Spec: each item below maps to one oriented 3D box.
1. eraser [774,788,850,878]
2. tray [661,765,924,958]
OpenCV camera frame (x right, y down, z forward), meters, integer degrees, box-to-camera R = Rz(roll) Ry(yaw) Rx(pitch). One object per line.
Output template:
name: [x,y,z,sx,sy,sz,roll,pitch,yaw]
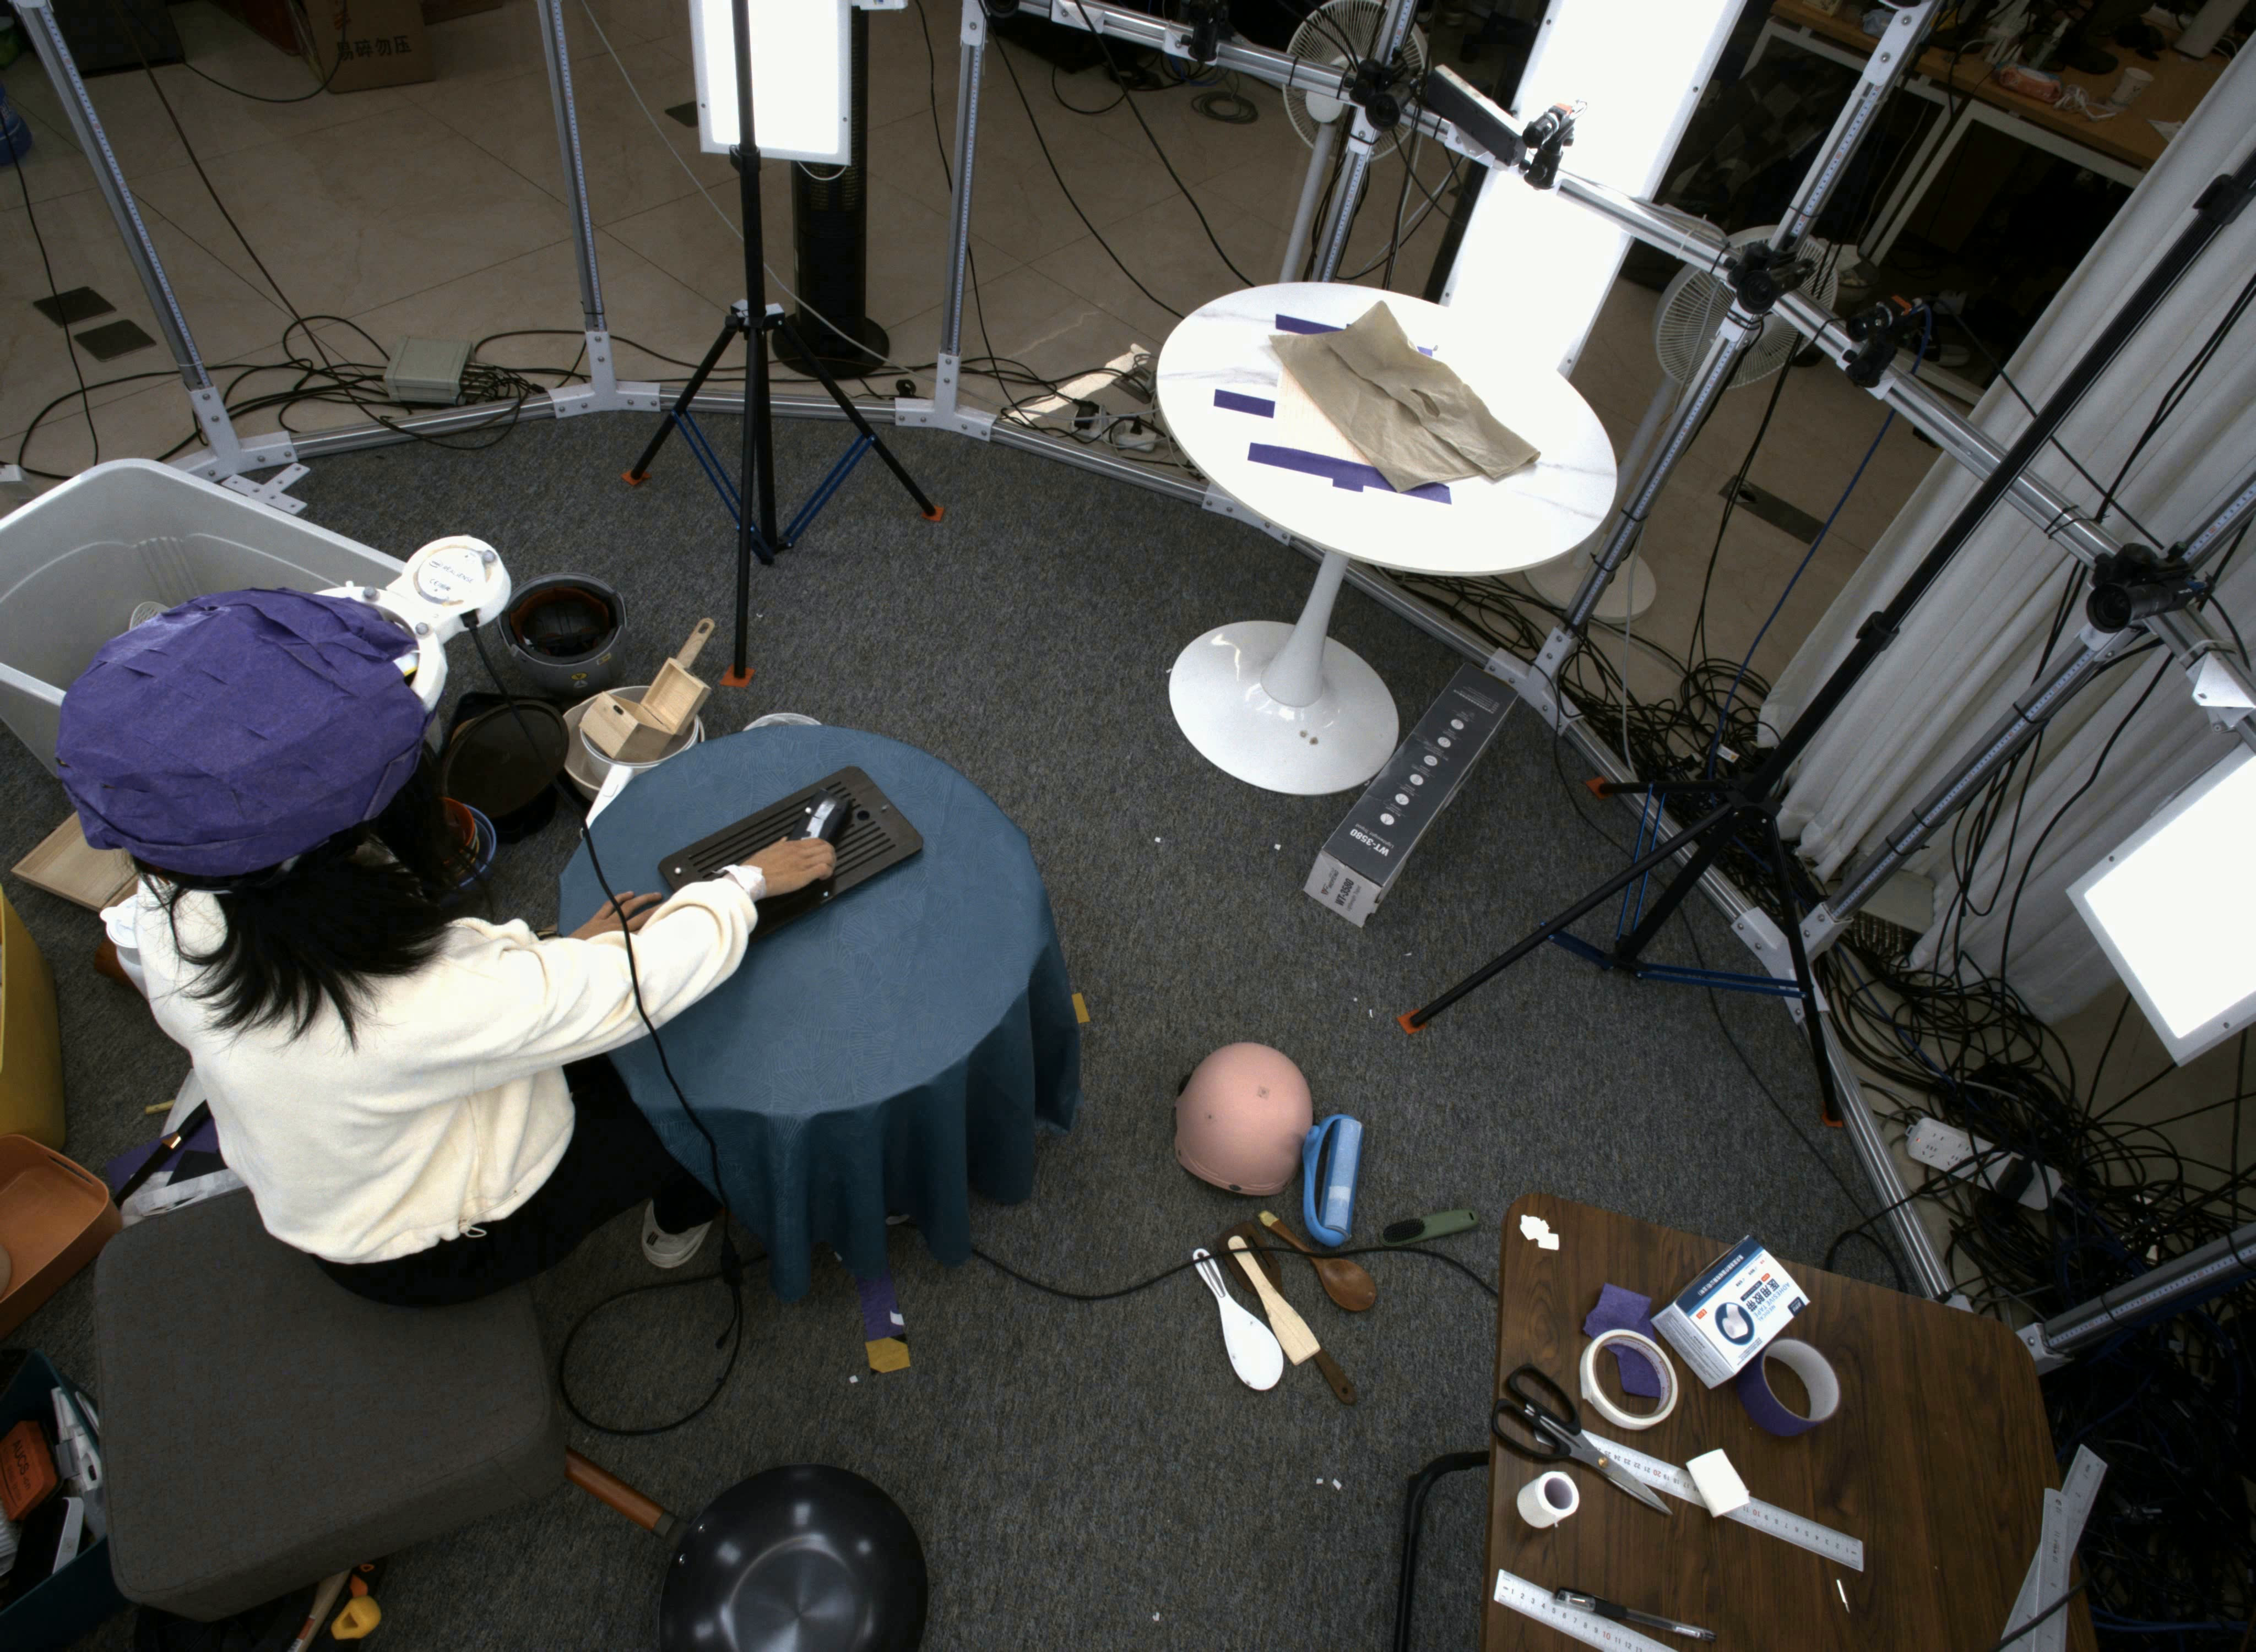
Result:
eraser: [-0.409,0.006,1.680,0.053,0.031,0.124,16,53,4]
tray: [-0.430,0.040,1.676,0.307,0.019,0.166,-32,67,-32]
